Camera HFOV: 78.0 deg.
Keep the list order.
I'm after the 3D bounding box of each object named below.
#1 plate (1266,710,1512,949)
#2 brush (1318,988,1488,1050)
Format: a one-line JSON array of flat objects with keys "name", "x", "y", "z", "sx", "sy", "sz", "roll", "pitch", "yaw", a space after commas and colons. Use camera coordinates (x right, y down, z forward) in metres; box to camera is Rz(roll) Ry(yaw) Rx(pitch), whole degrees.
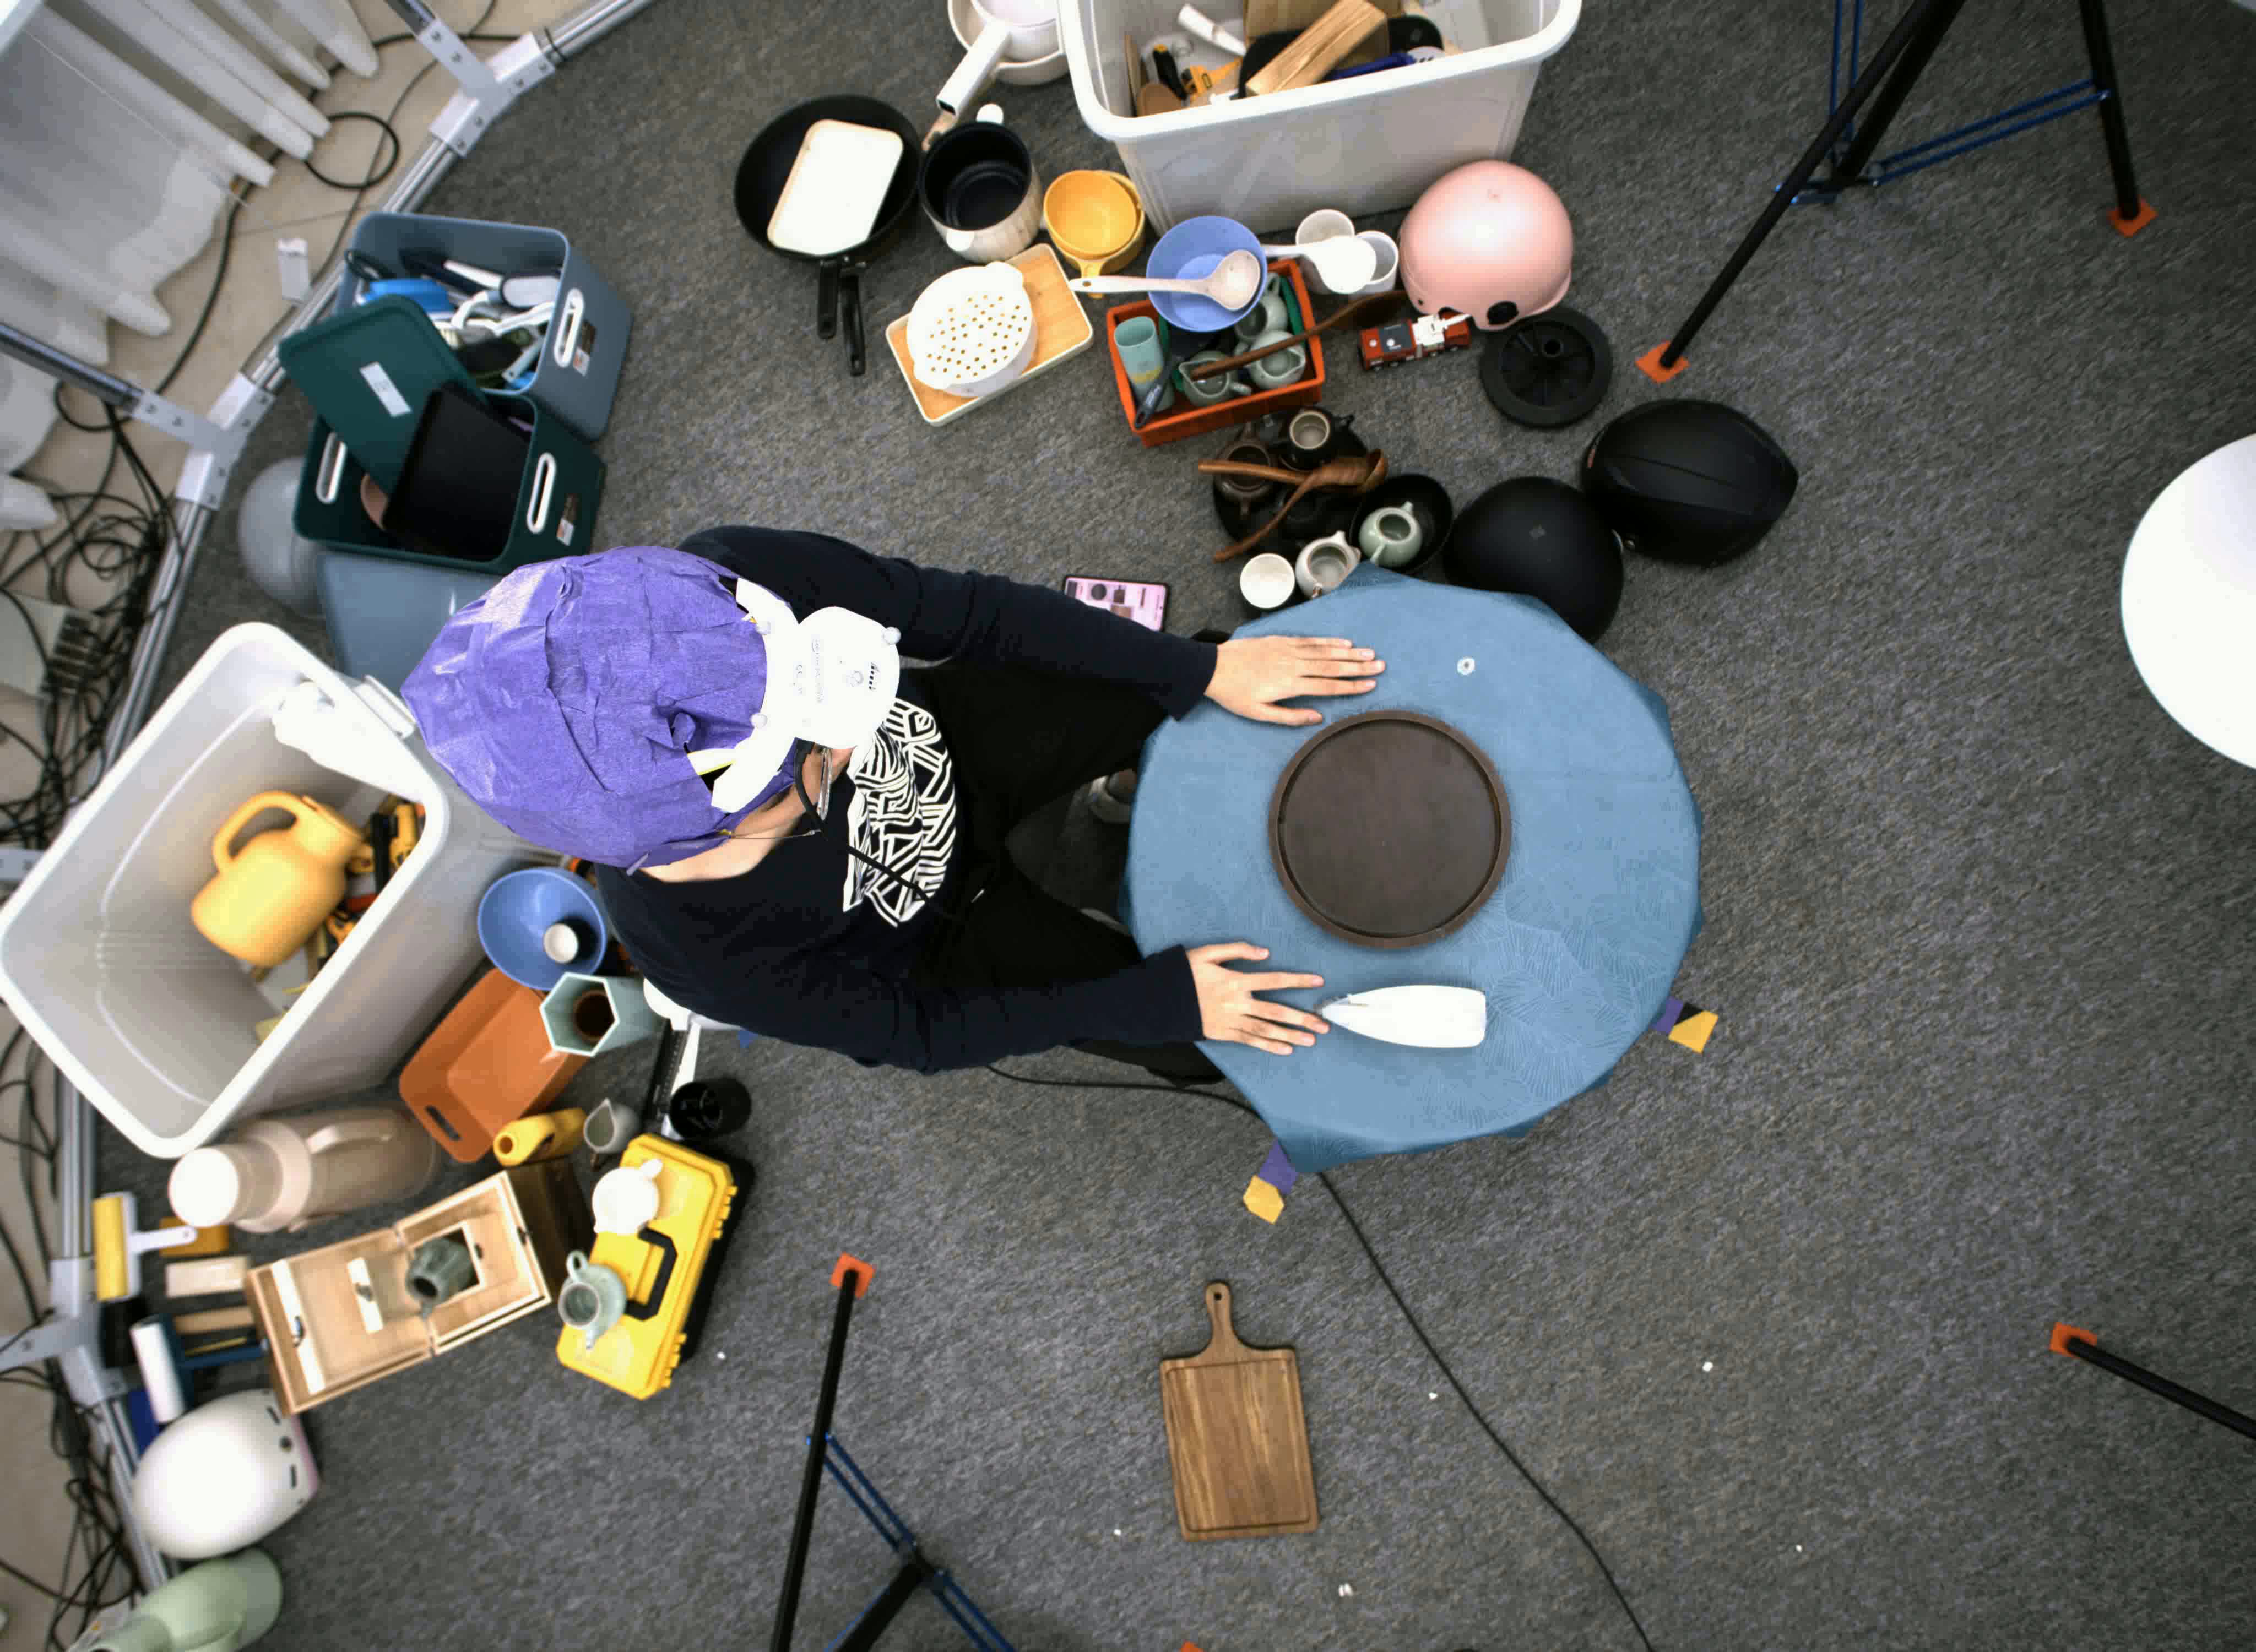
[{"name": "plate", "x": 0.274, "y": 0.002, "z": 1.450, "sx": 0.256, "sy": 0.029, "sz": 0.254, "roll": -1, "pitch": 87, "yaw": 9}, {"name": "brush", "x": 0.278, "y": 0.193, "z": 1.404, "sx": 0.176, "sy": 0.094, "sz": 0.061, "roll": 1, "pitch": 84, "yaw": 13}]
